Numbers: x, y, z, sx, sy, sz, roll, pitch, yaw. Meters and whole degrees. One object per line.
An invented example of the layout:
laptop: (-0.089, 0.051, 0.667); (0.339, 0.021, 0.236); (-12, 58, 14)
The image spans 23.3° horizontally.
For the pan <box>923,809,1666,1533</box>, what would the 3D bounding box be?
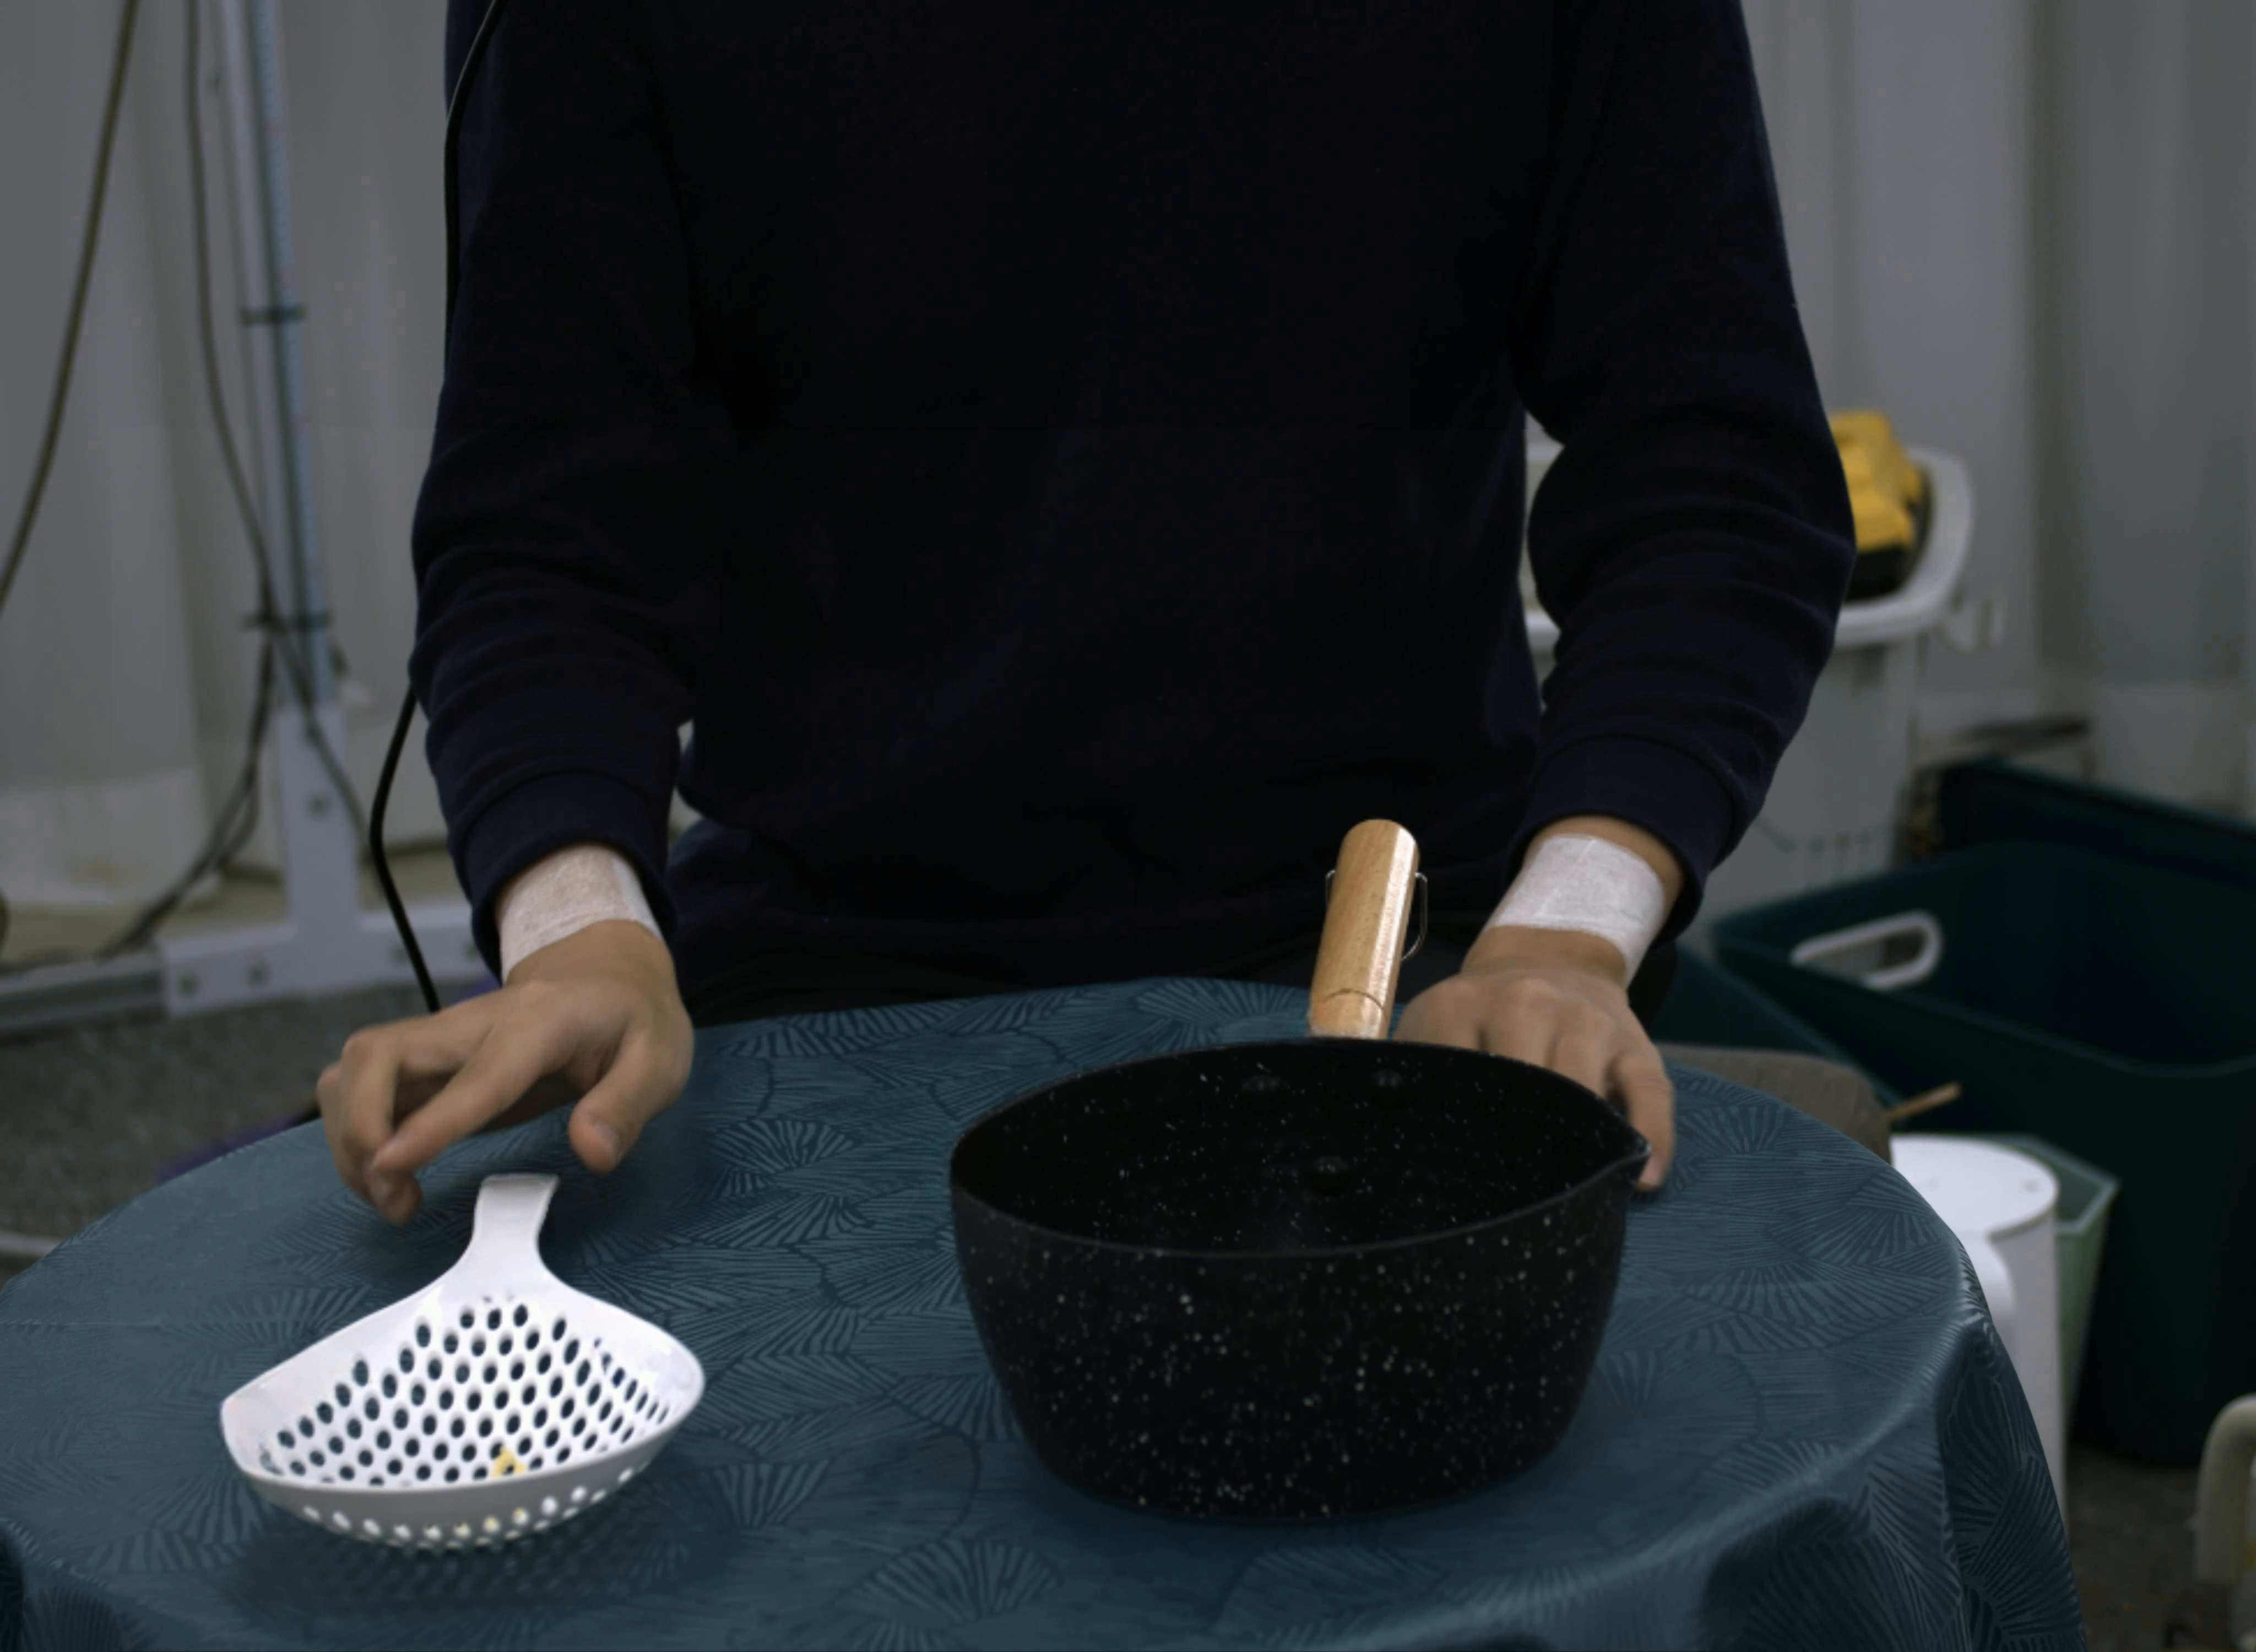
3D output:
pan: (0.055, 0.094, 1.575); (0.207, 0.108, 0.345); (-2, 16, 8)

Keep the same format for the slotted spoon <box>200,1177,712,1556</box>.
slotted spoon: (-0.184, 0.141, 1.573); (0.136, 0.050, 0.351); (-6, 17, -2)
